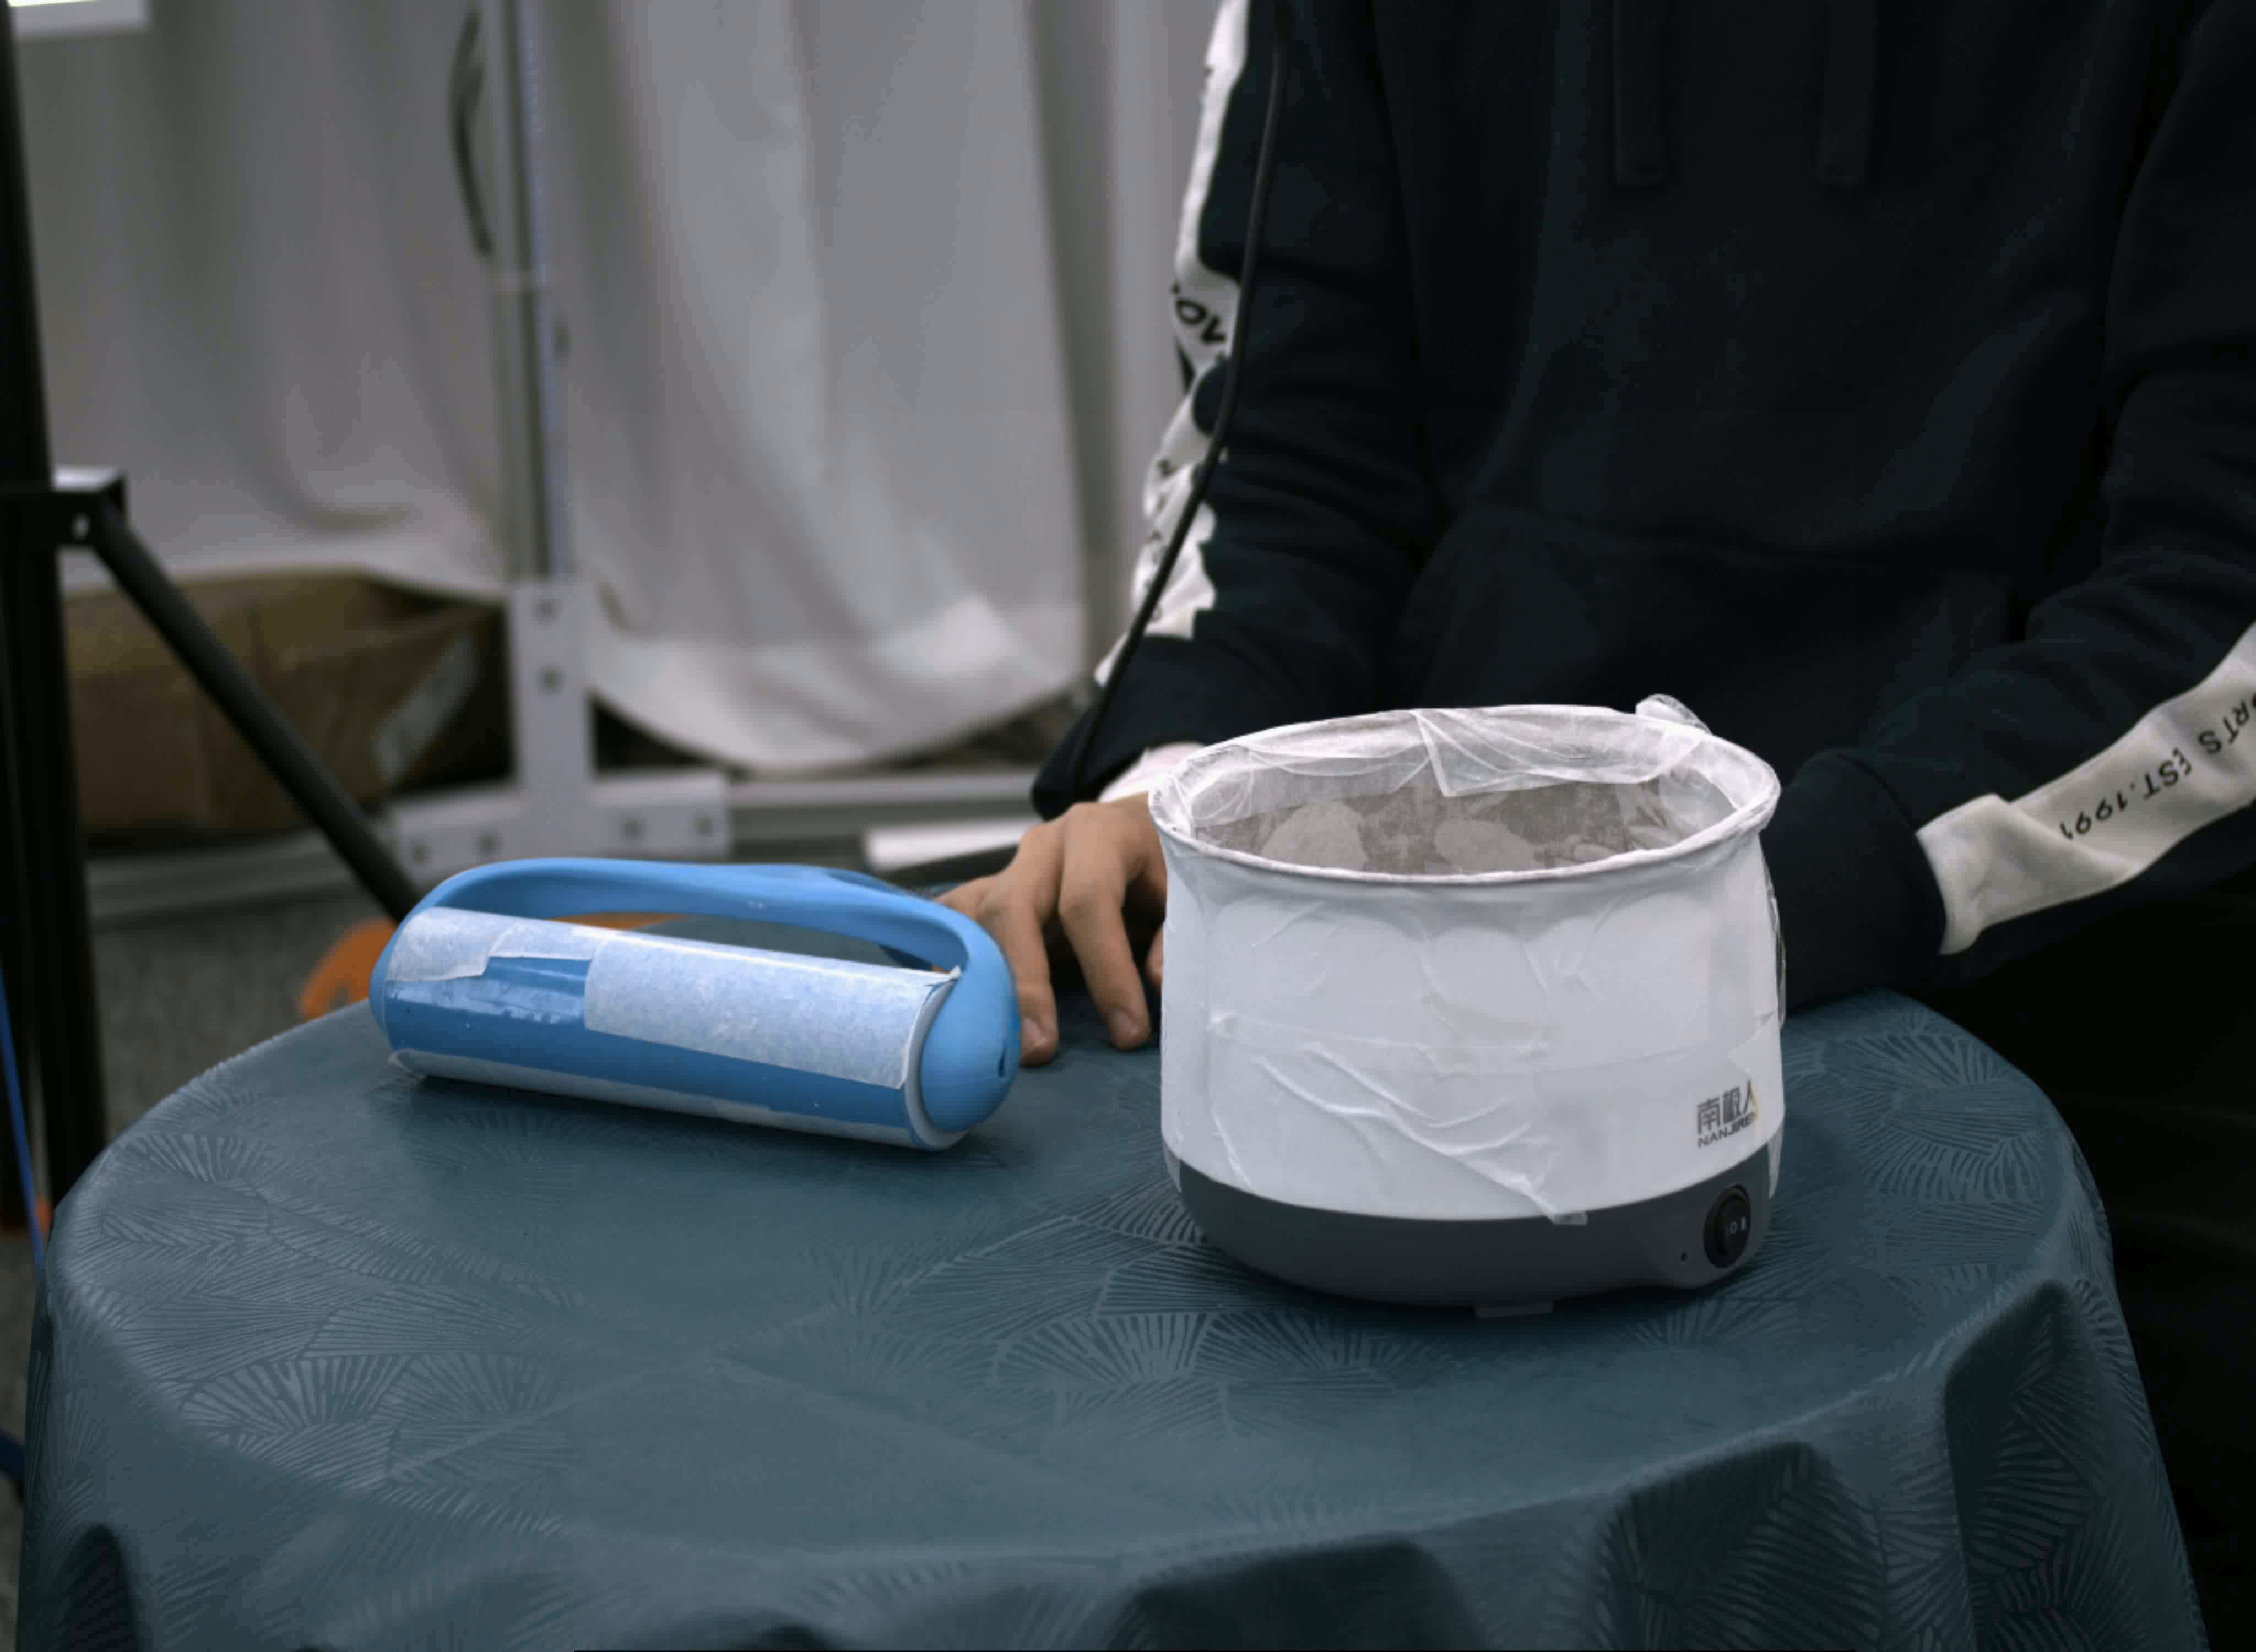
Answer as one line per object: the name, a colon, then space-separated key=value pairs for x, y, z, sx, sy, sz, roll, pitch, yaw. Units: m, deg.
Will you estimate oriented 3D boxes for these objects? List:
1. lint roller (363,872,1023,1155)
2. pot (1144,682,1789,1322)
lint roller: x=-0.112 y=0.047 z=1.692 sx=0.232 sy=0.068 sz=0.177 roll=3 pitch=18 yaw=26
pot: x=0.113 y=0.043 z=1.511 sx=0.182 sy=0.136 sz=0.229 roll=10 pitch=22 yaw=38
